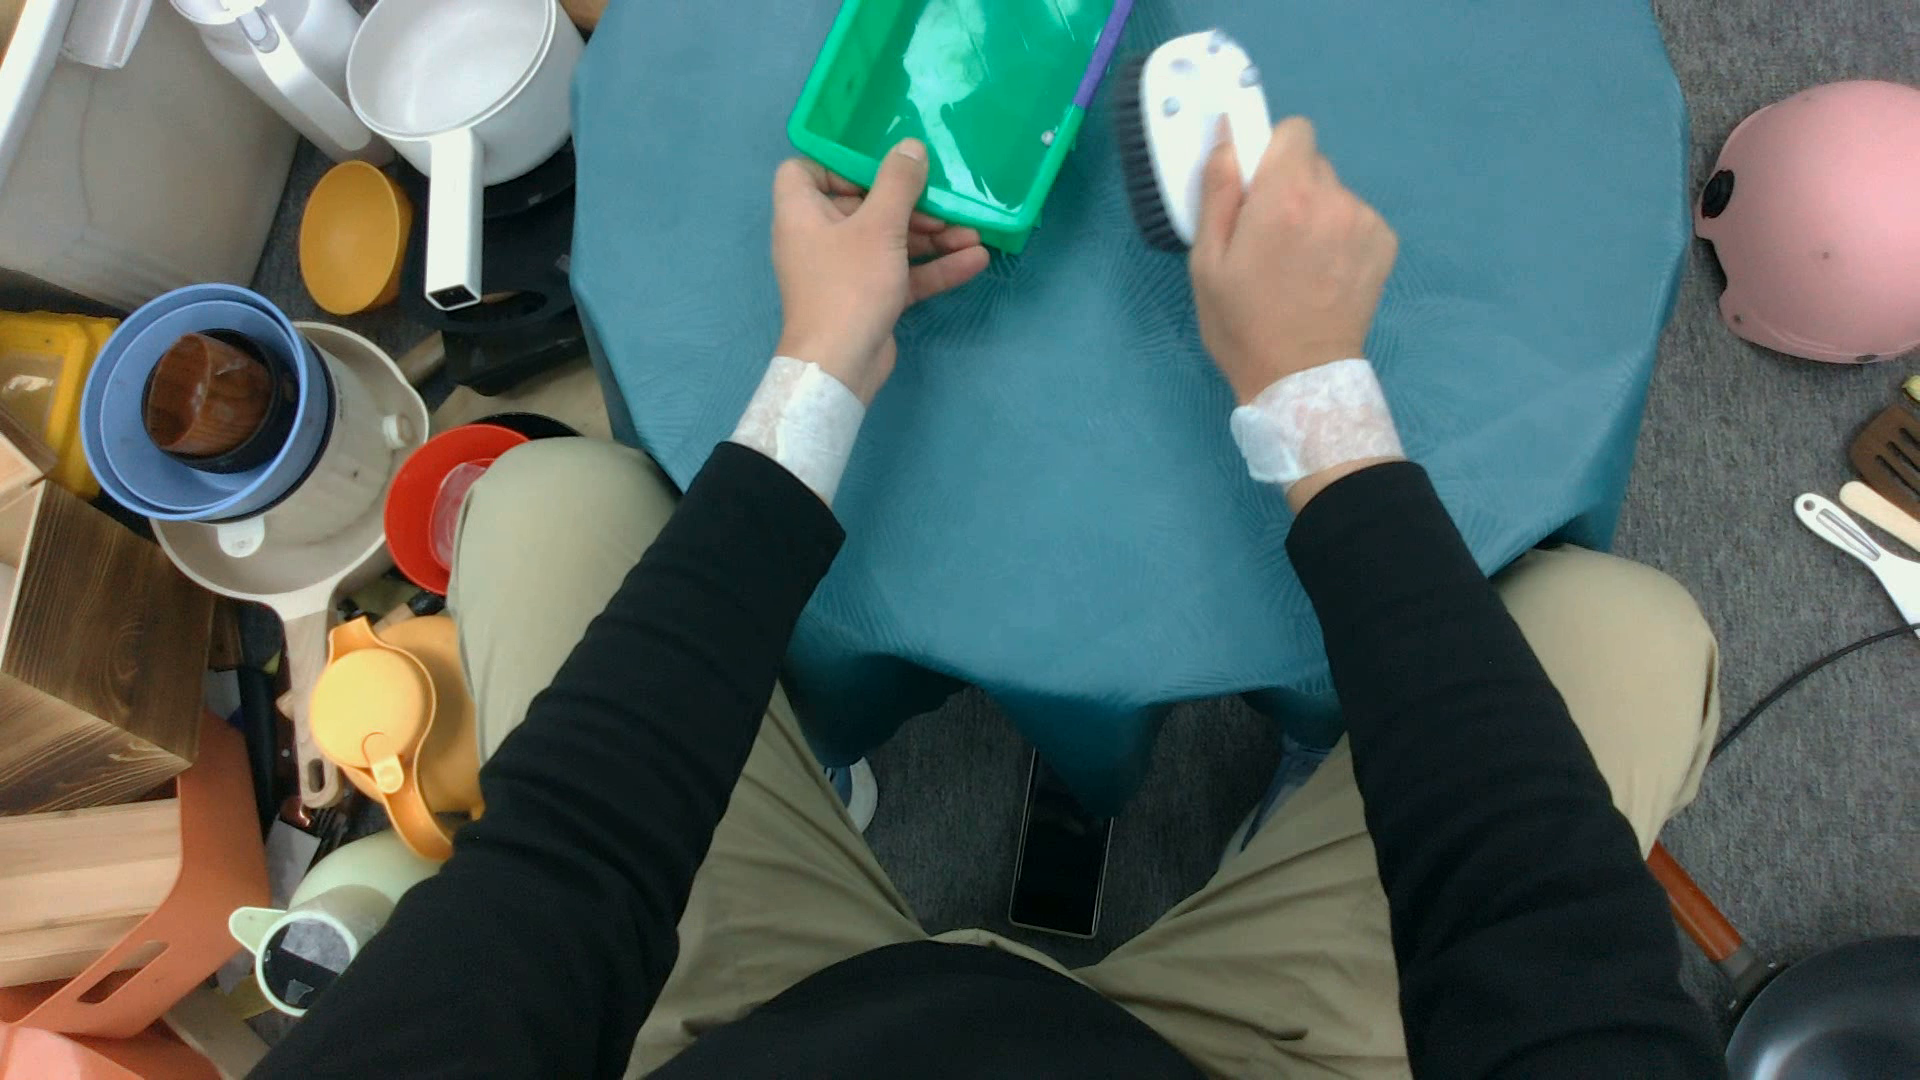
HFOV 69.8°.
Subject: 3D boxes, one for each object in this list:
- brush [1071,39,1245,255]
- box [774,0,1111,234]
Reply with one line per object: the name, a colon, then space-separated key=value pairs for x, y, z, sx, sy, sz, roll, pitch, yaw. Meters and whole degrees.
brush: x=0.100 y=-0.186 z=0.649 sx=0.050 sy=0.072 sz=0.099 roll=-29 pitch=109 yaw=-26
box: x=0.004 y=-0.273 z=0.732 sx=0.138 sy=0.065 sz=0.211 roll=22 pitch=81 yaw=4
